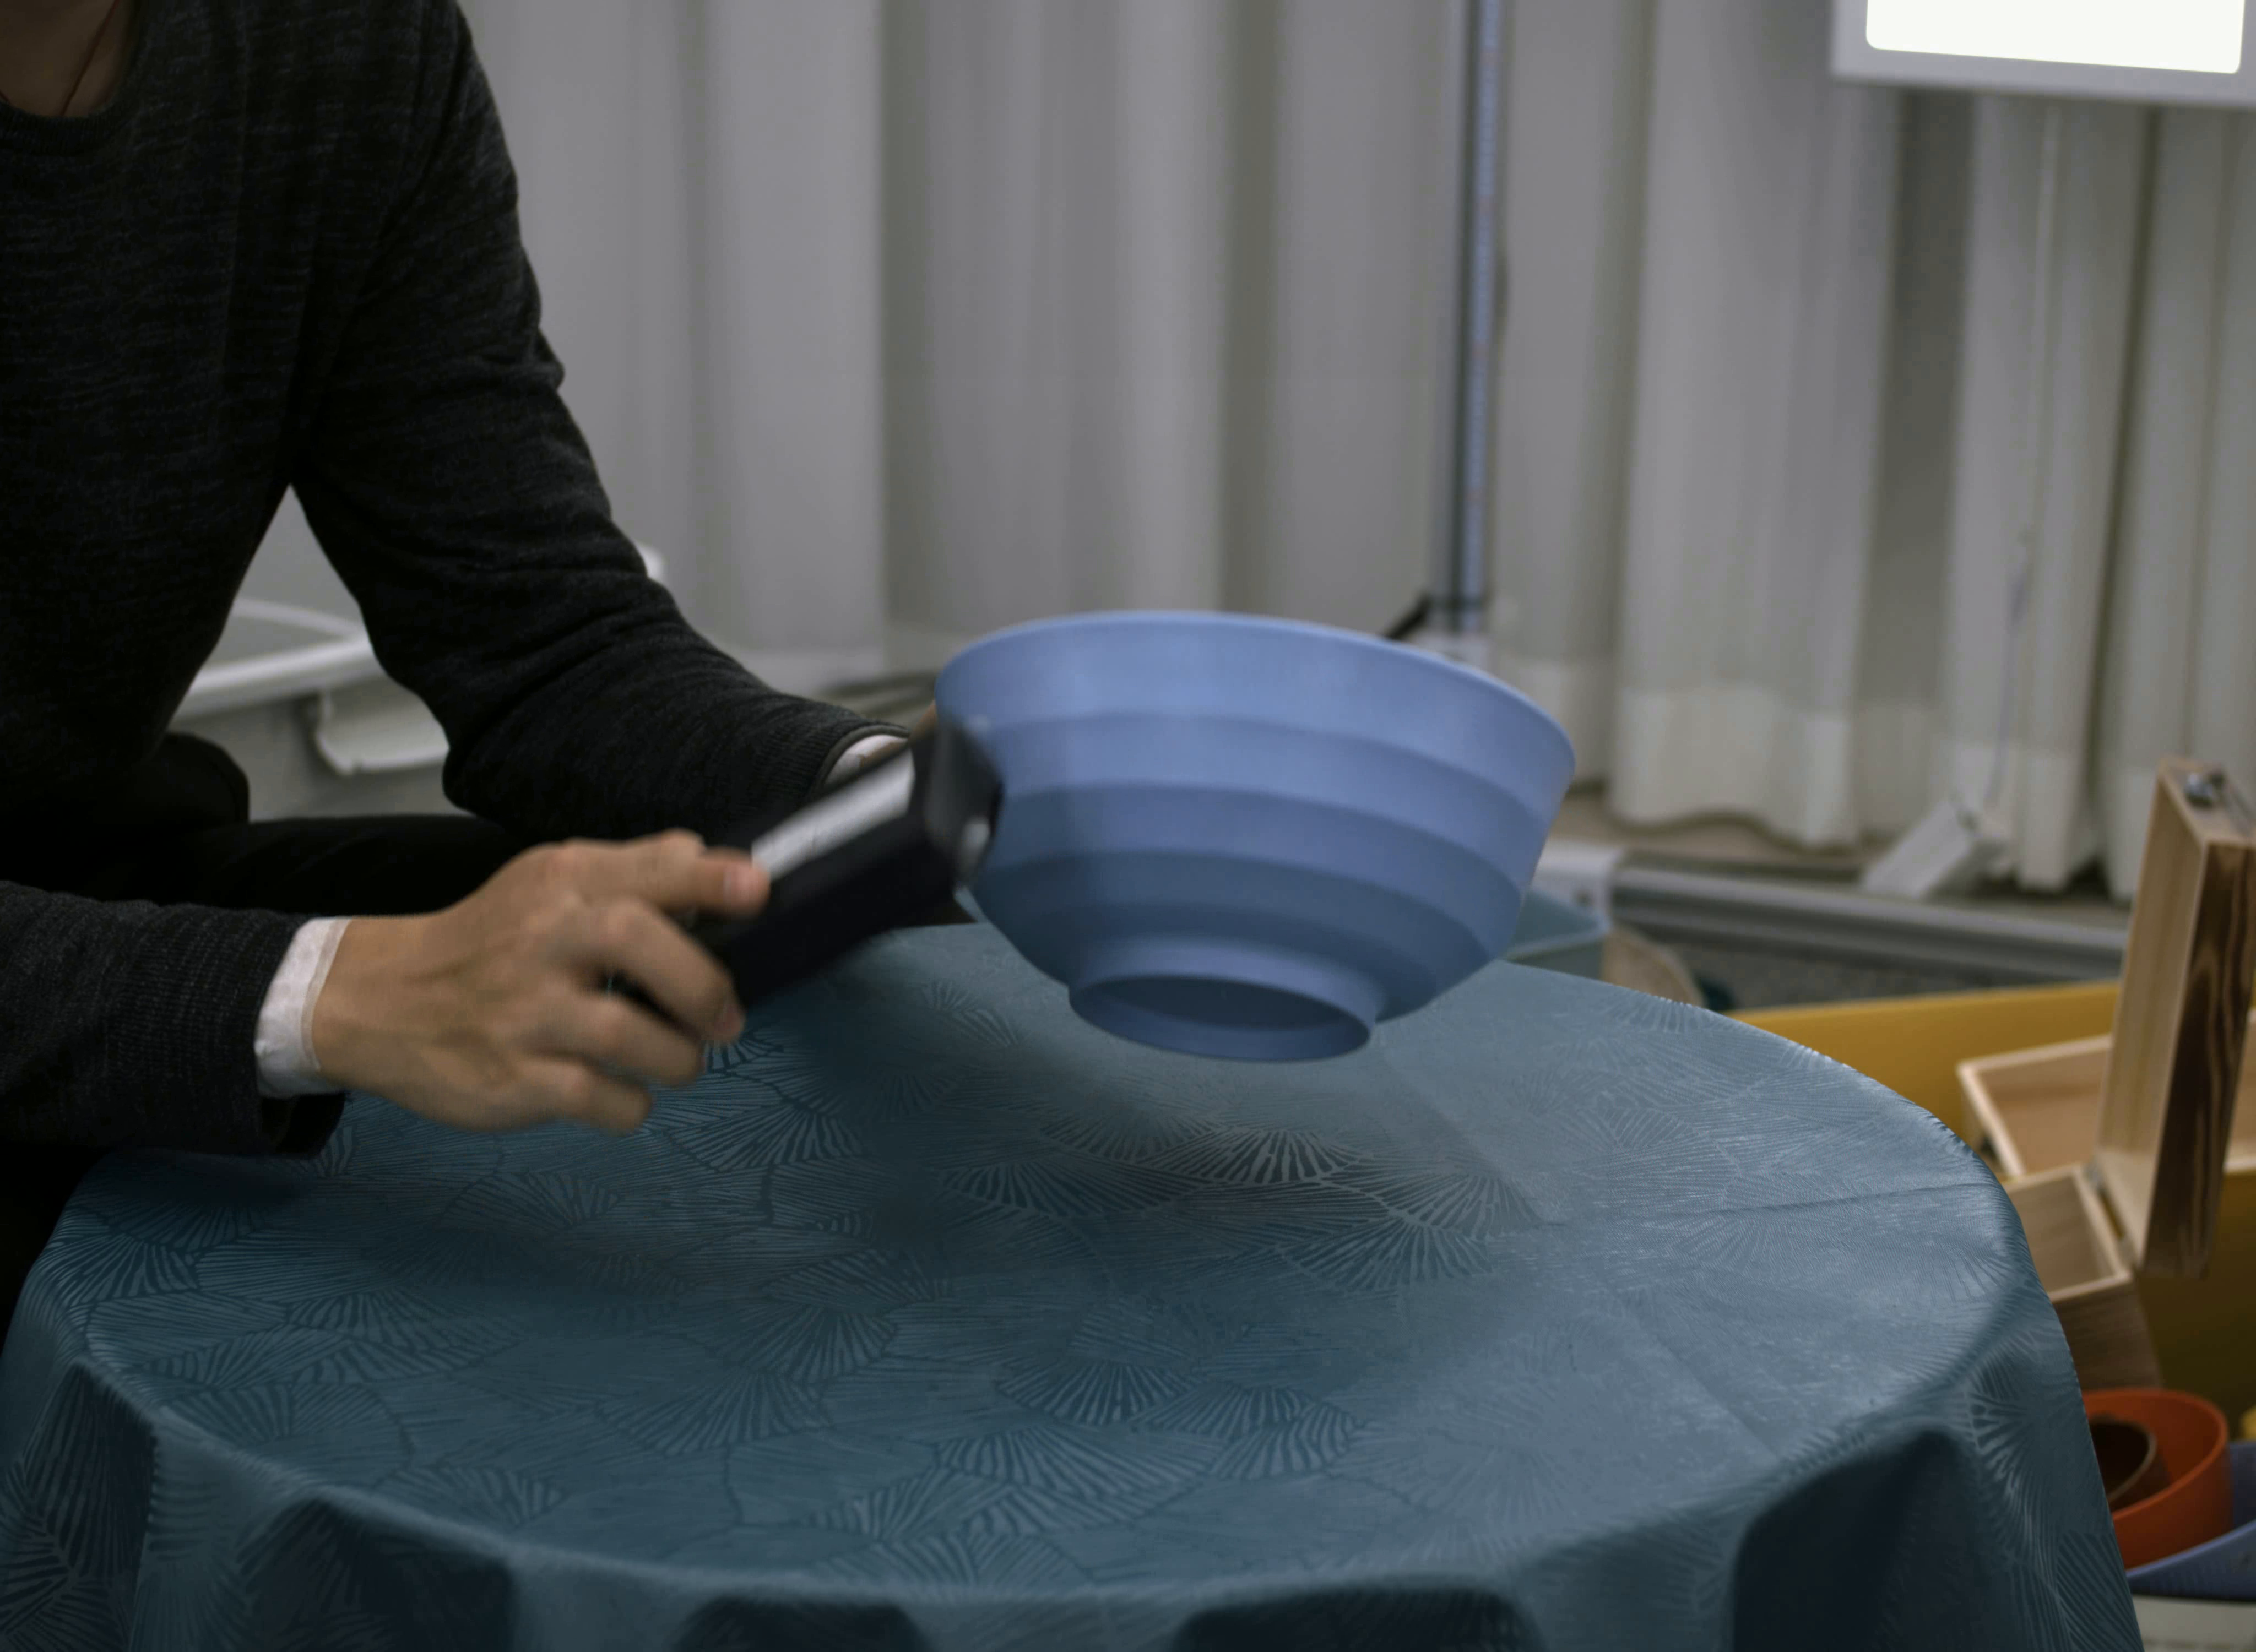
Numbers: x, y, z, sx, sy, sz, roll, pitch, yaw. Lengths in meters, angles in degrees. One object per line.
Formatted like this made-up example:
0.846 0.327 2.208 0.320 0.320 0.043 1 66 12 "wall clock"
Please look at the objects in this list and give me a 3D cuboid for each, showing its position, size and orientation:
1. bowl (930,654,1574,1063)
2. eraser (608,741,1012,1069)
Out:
0.036 0.017 1.593 0.196 0.095 0.197 2 -12 1 "bowl"
-0.090 0.022 1.494 0.125 0.031 0.053 -27 32 29 "eraser"
